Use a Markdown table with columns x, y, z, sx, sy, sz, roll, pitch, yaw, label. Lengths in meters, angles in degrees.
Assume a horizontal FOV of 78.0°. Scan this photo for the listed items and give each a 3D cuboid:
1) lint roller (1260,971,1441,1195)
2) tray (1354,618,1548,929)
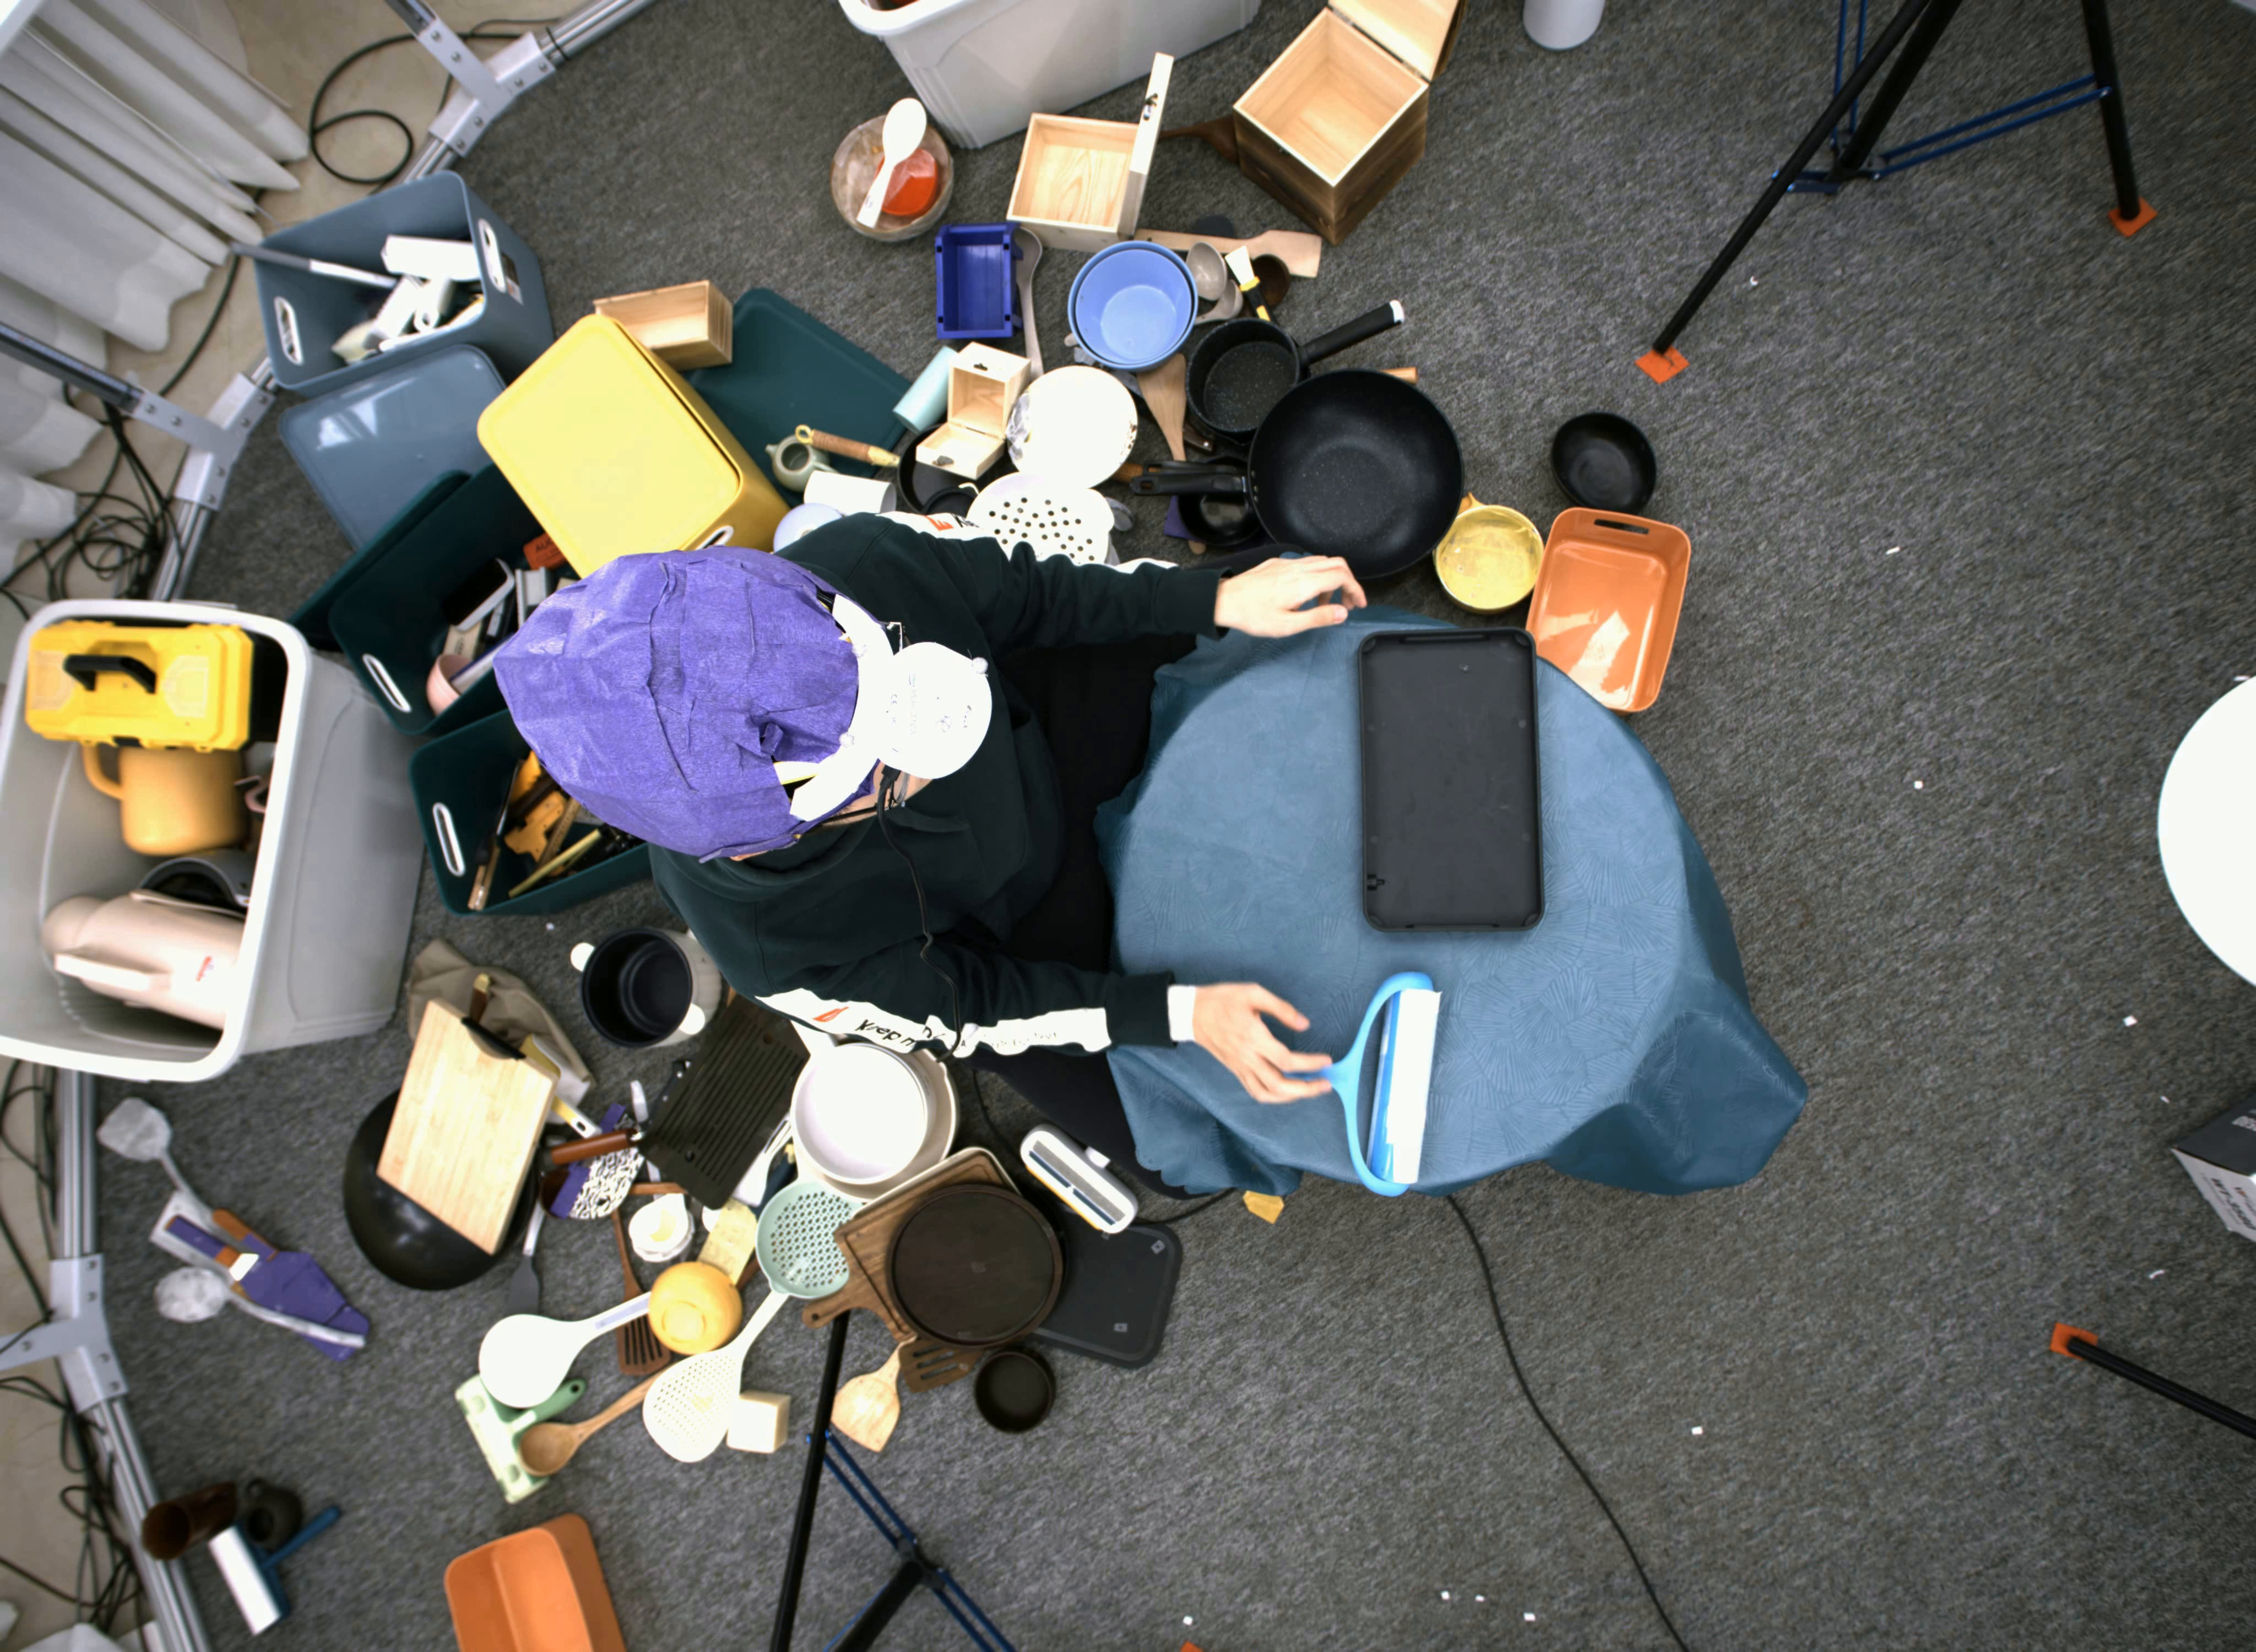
| x | y | z | sx | sy | sz | roll | pitch | yaw | label |
| --- | --- | --- | --- | --- | --- | --- | --- | --- | --- |
| 0.224 | 0.257 | 1.426 | 0.181 | 0.068 | 0.228 | 4 | 90 | 9 | lint roller |
| 0.335 | -0.055 | 1.433 | 0.185 | 0.037 | 0.317 | -2 | 88 | 11 | tray |
